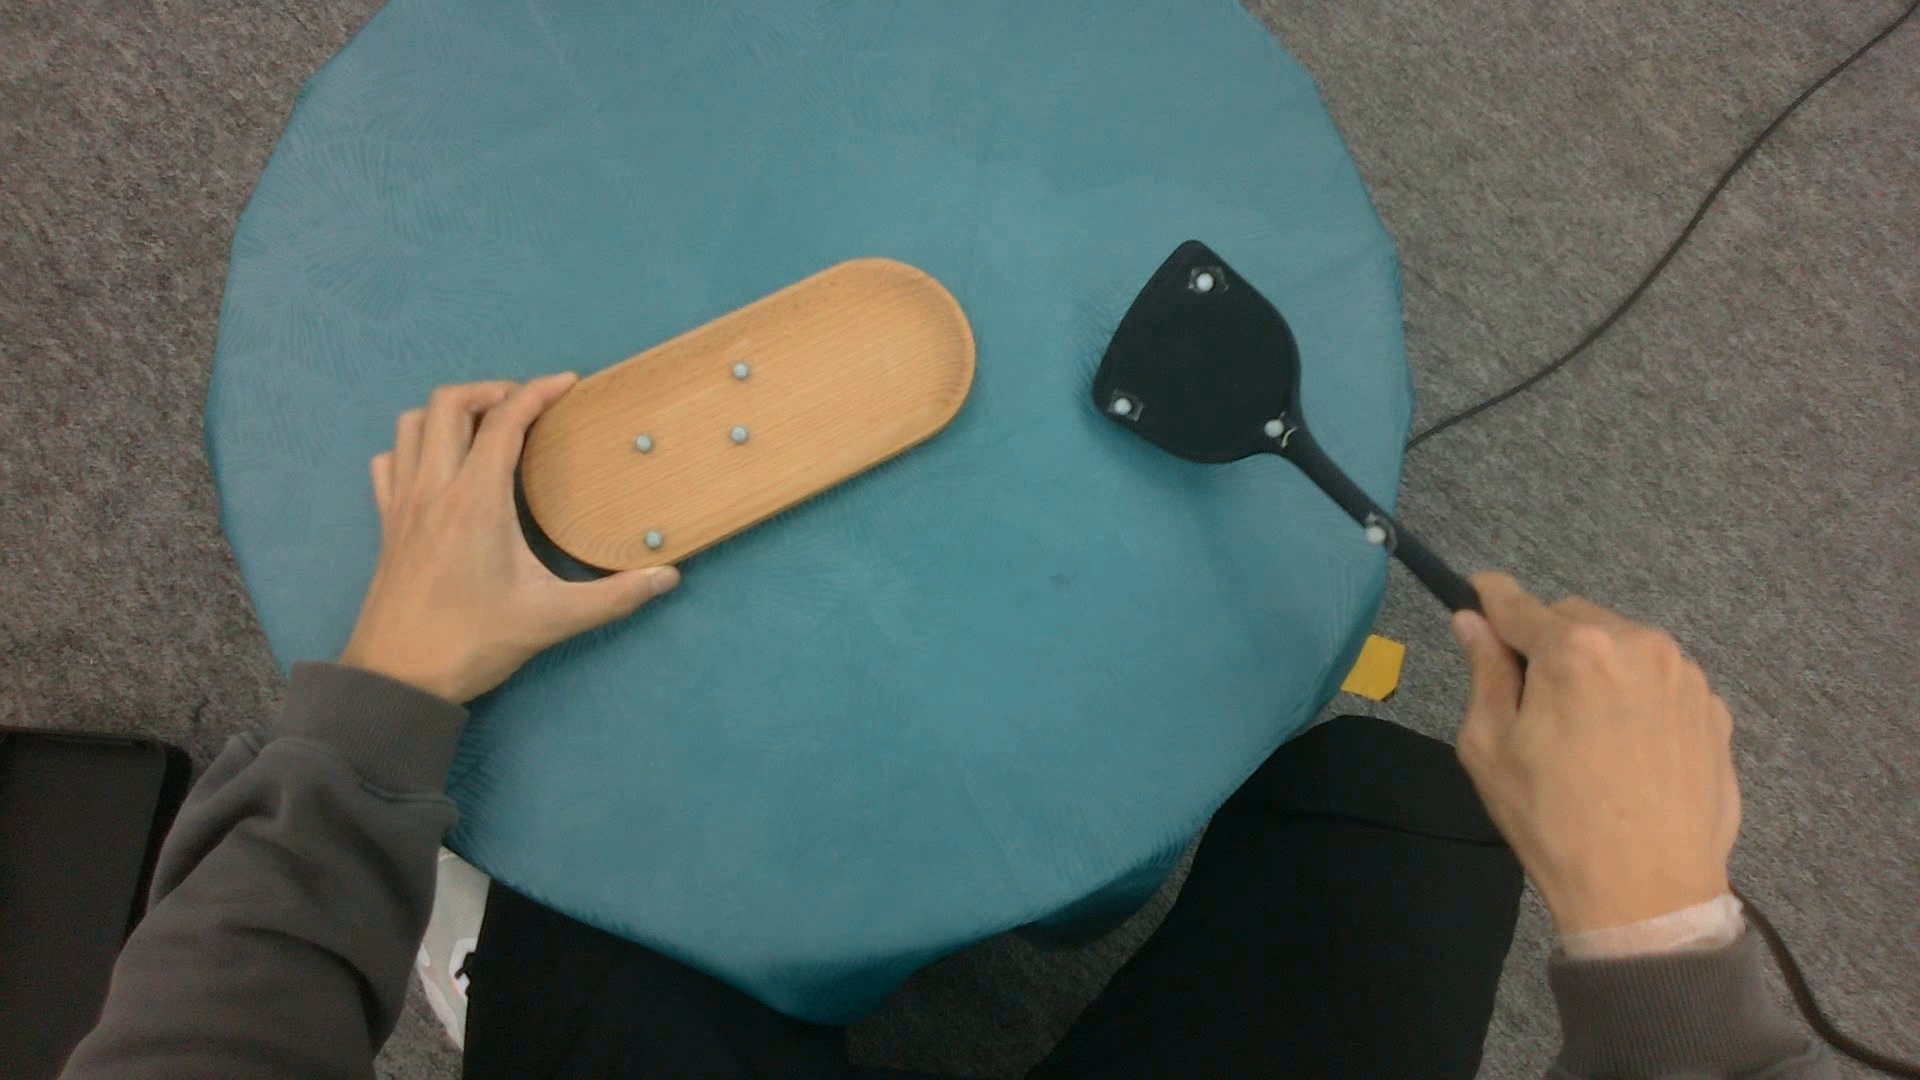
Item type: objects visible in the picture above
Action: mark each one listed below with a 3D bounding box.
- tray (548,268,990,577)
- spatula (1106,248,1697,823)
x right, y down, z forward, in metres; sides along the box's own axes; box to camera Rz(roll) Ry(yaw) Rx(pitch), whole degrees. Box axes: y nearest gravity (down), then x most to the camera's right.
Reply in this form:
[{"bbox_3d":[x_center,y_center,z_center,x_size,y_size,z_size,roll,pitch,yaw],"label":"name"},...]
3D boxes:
[{"bbox_3d":[-0.093,-0.060,0.691,0.231,0.020,0.102,-27,80,-11],"label":"tray"},{"bbox_3d":[0.184,-0.002,0.601,0.040,0.099,0.327,0,41,-41],"label":"spatula"}]
